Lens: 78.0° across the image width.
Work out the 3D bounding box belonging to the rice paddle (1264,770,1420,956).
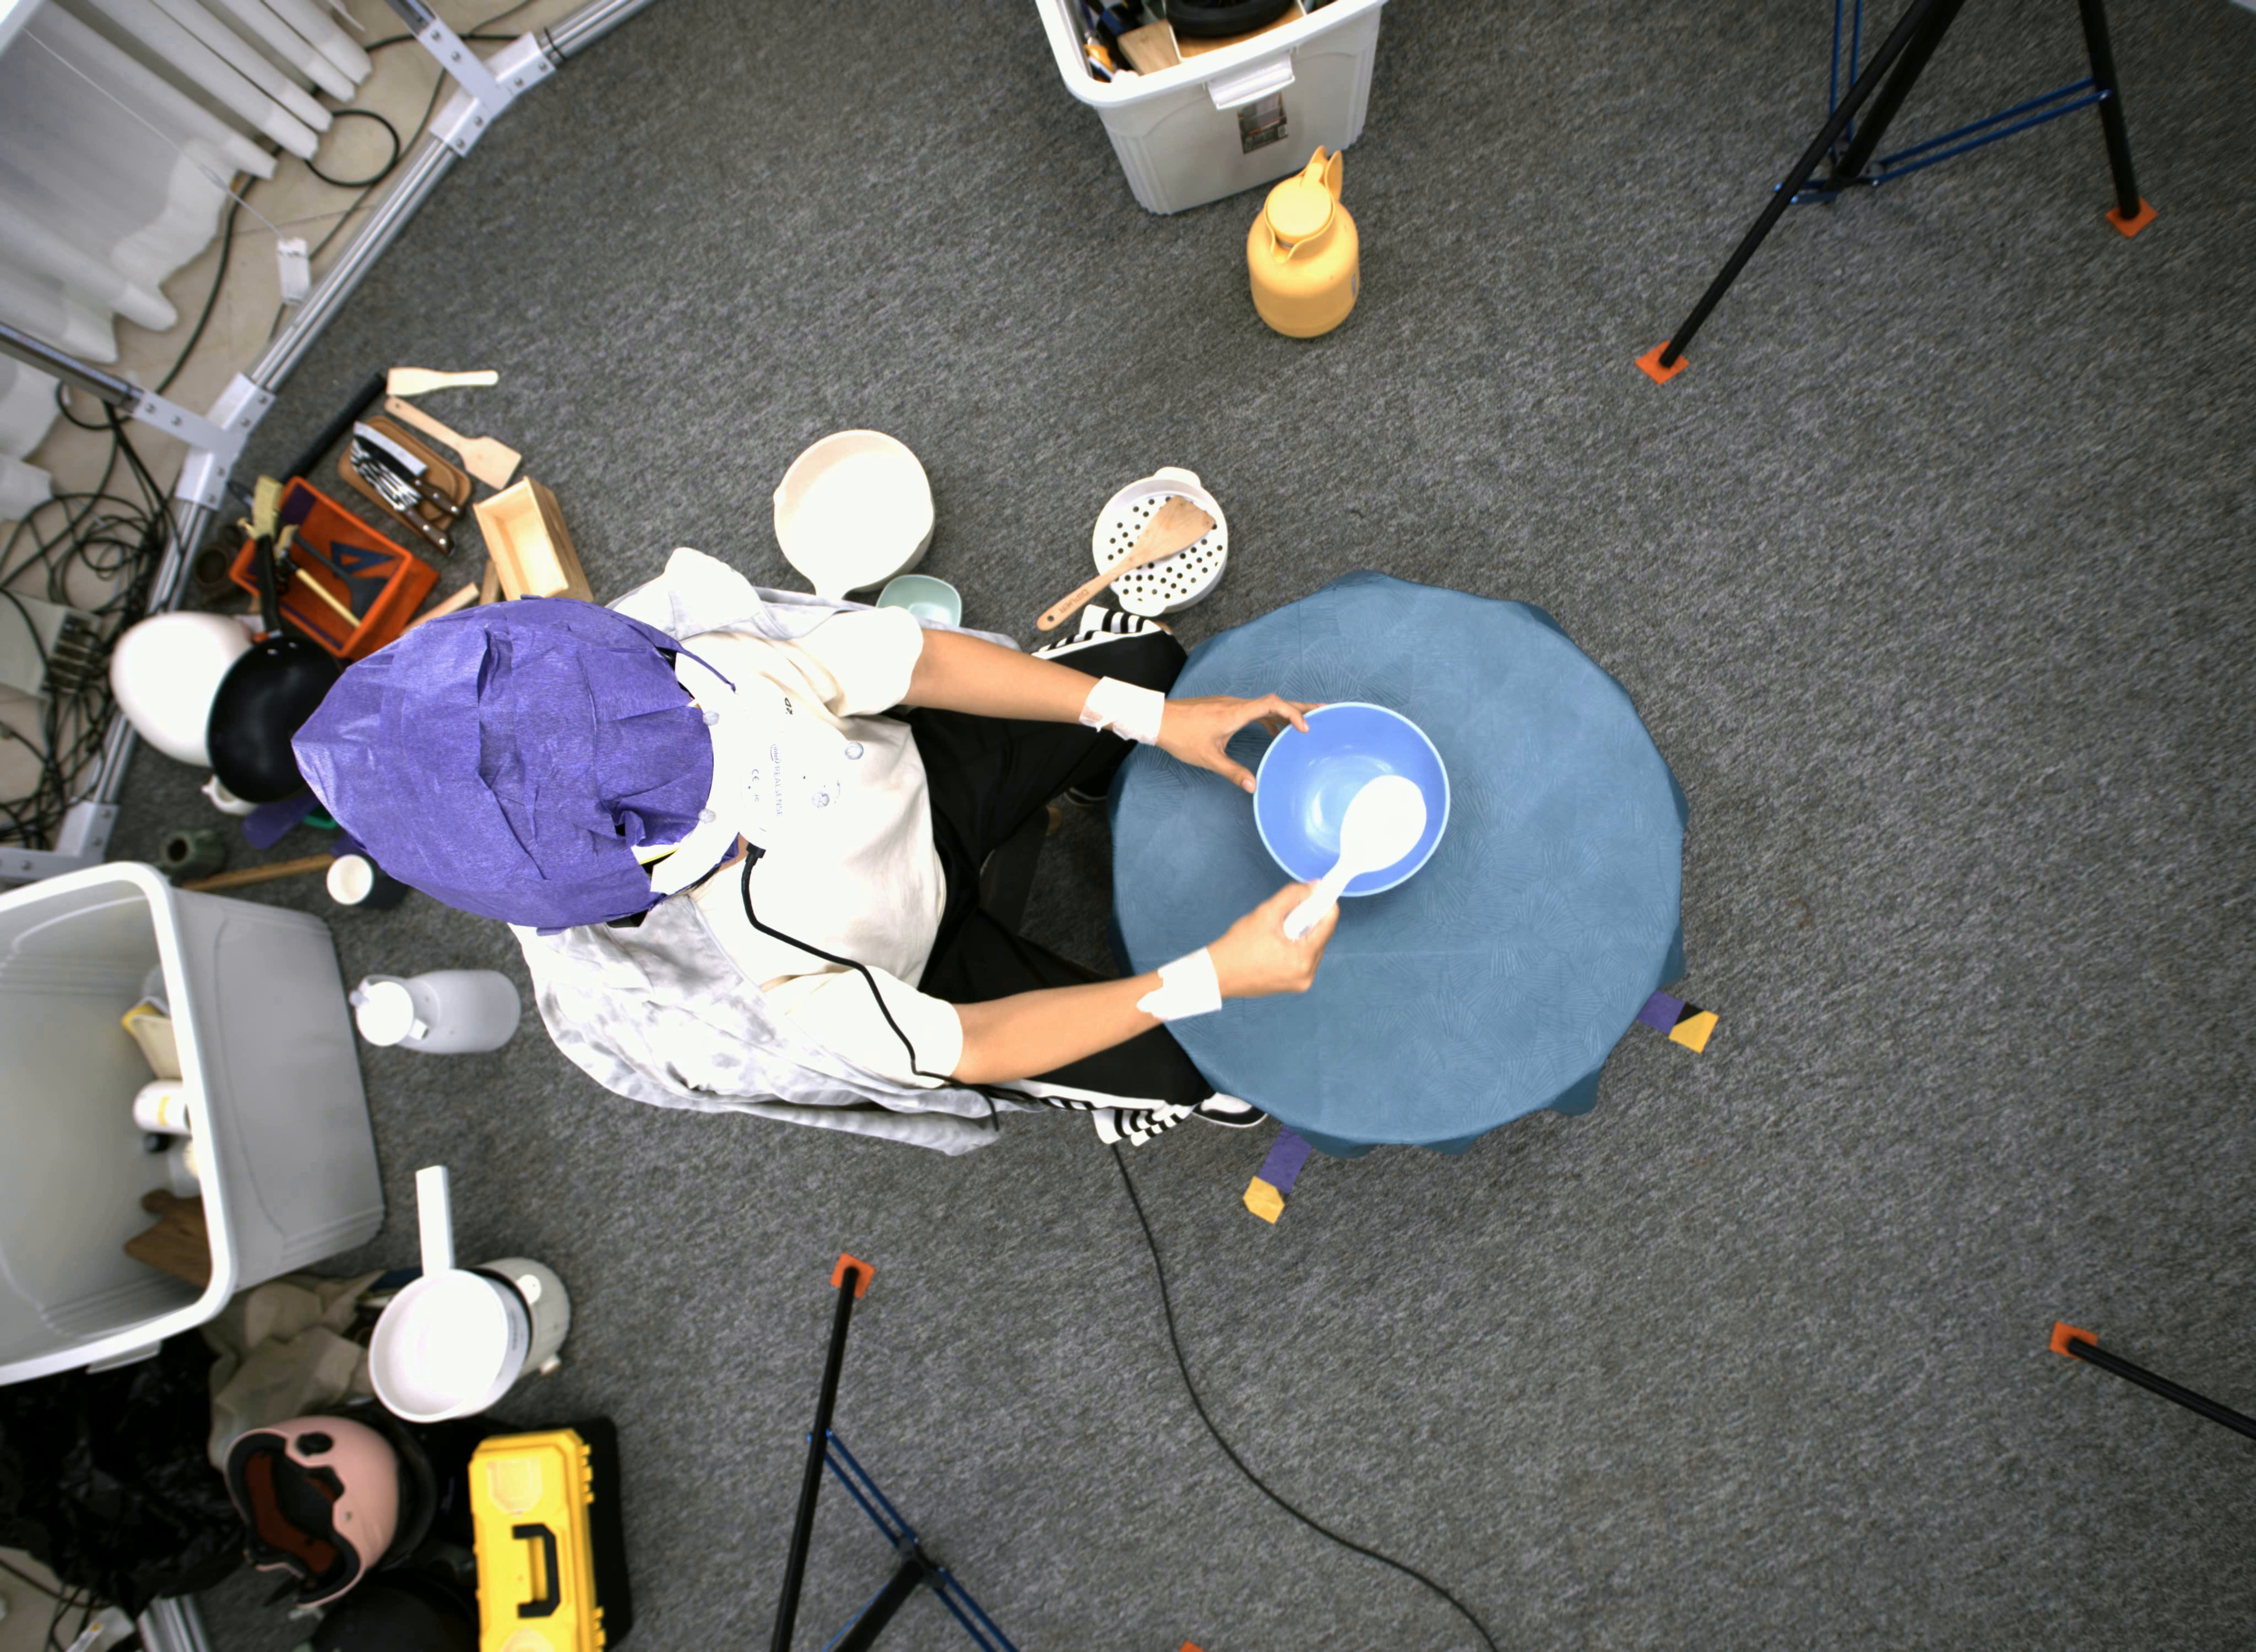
[{"bbox_3d":[0.201,0.032,1.294,0.069,0.029,0.205,38,88,-2],"label":"rice paddle"}]

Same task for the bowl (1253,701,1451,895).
[{"bbox_3d":[0.229,-0.025,1.422,0.197,0.095,0.195,-1,87,9],"label":"bowl"}]
